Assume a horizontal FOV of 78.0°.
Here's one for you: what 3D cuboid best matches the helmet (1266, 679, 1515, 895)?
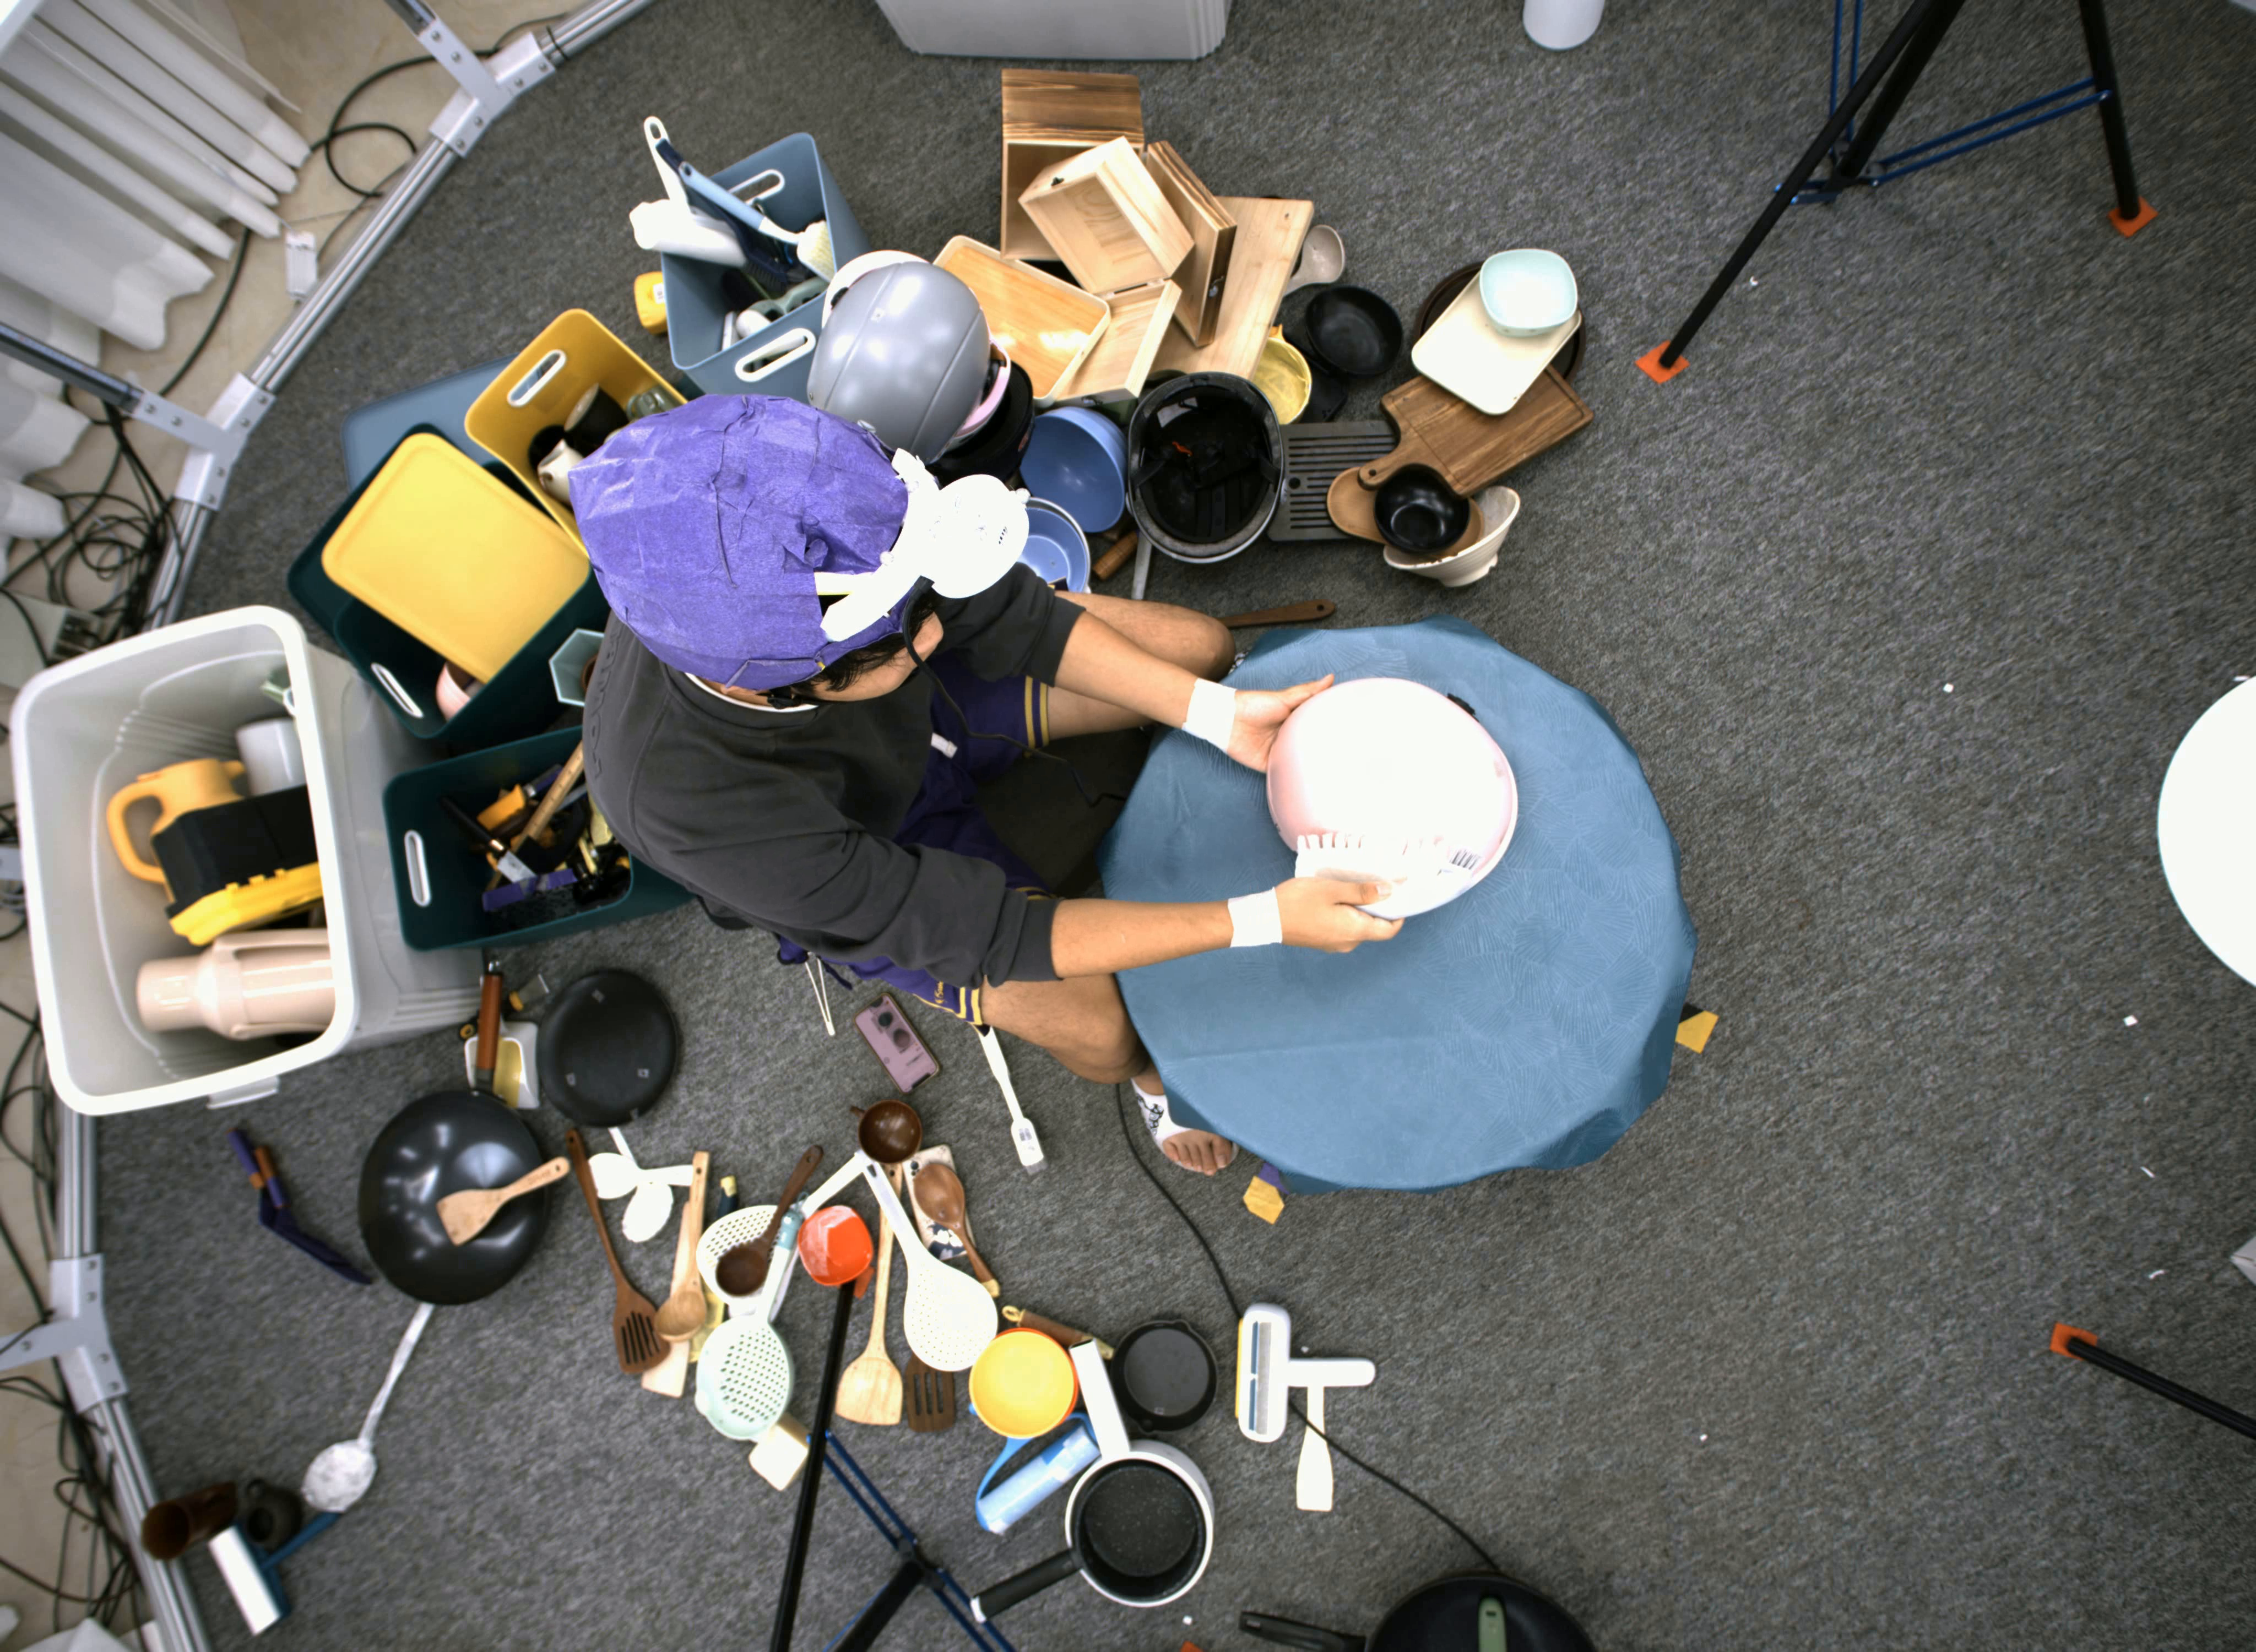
[{"bbox_3d":[0.270,-0.042,1.389,0.266,0.159,0.234,26,90,6],"label":"helmet"}]

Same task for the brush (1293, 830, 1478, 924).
[{"bbox_3d":[0.240,0.050,1.301,0.176,0.063,0.091,0,44,15],"label":"brush"}]
